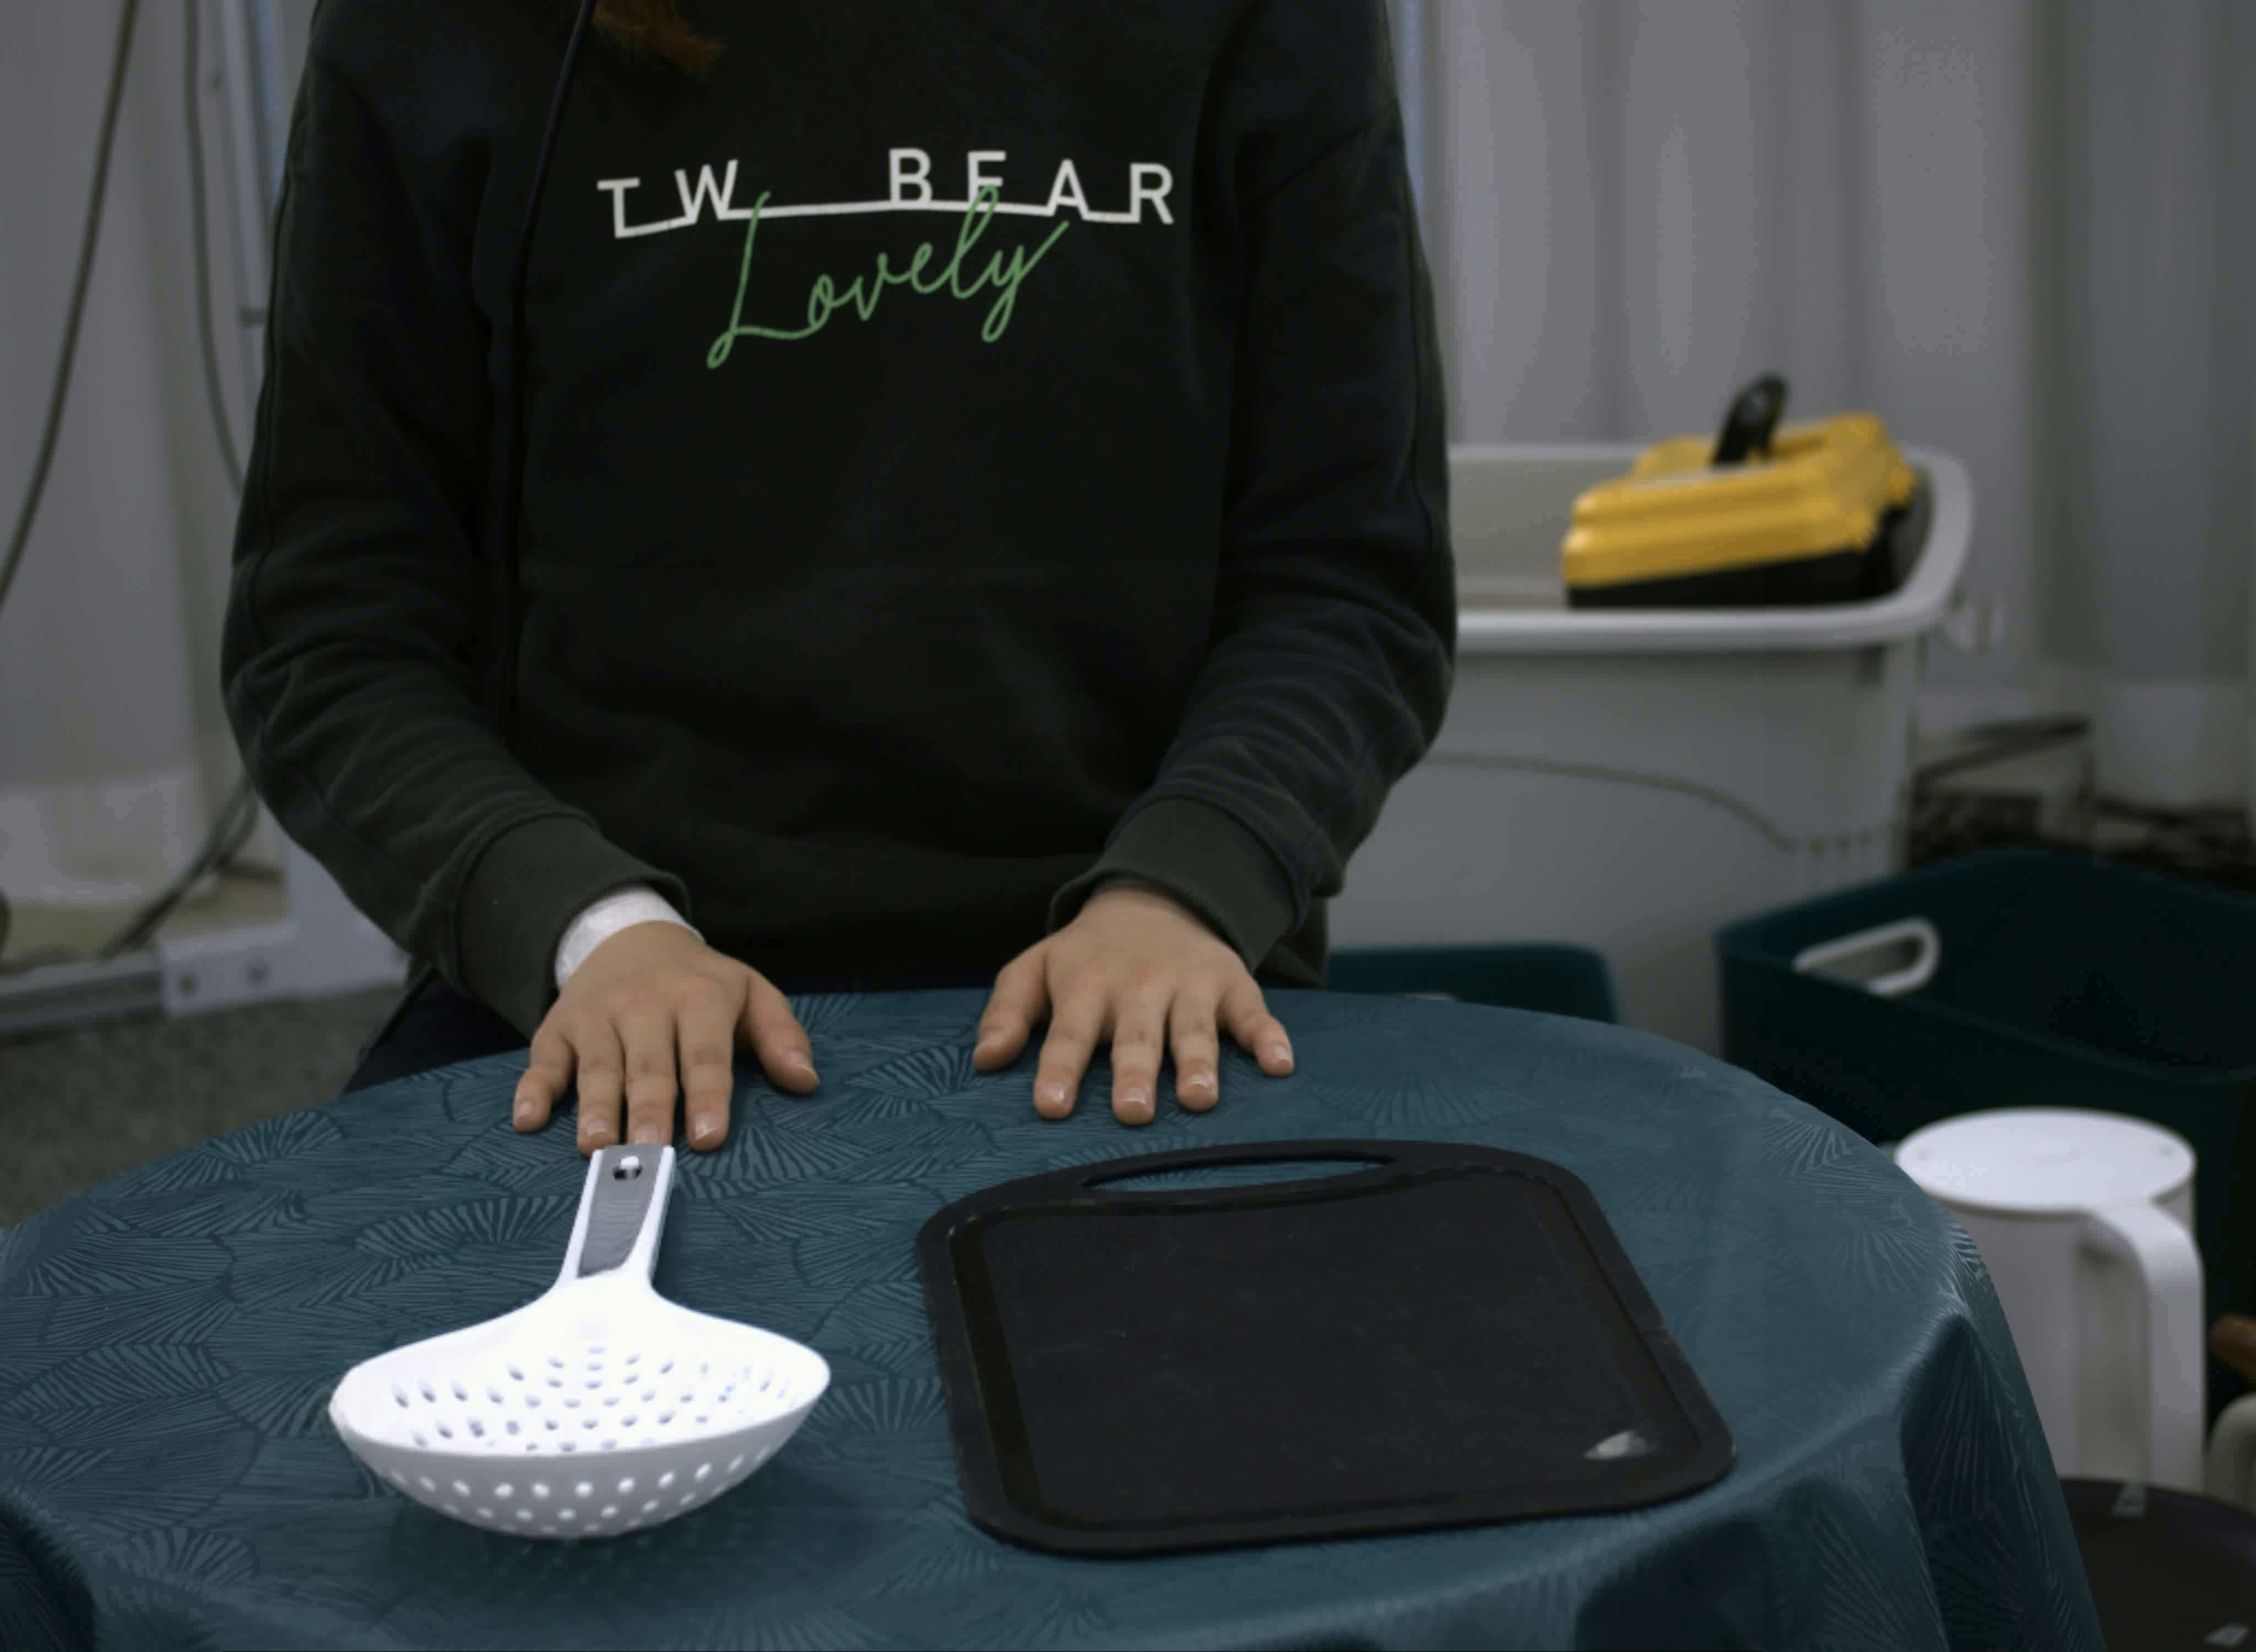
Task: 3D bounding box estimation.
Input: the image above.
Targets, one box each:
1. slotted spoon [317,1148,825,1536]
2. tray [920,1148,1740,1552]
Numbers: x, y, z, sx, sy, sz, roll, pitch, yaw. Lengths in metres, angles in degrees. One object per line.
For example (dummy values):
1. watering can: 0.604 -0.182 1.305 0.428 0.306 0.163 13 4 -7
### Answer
1. slotted spoon: -0.151 0.138 1.567 0.135 0.045 0.352 -1 14 -1
2. tray: 0.049 0.144 1.583 0.210 0.010 0.328 -4 15 -5
